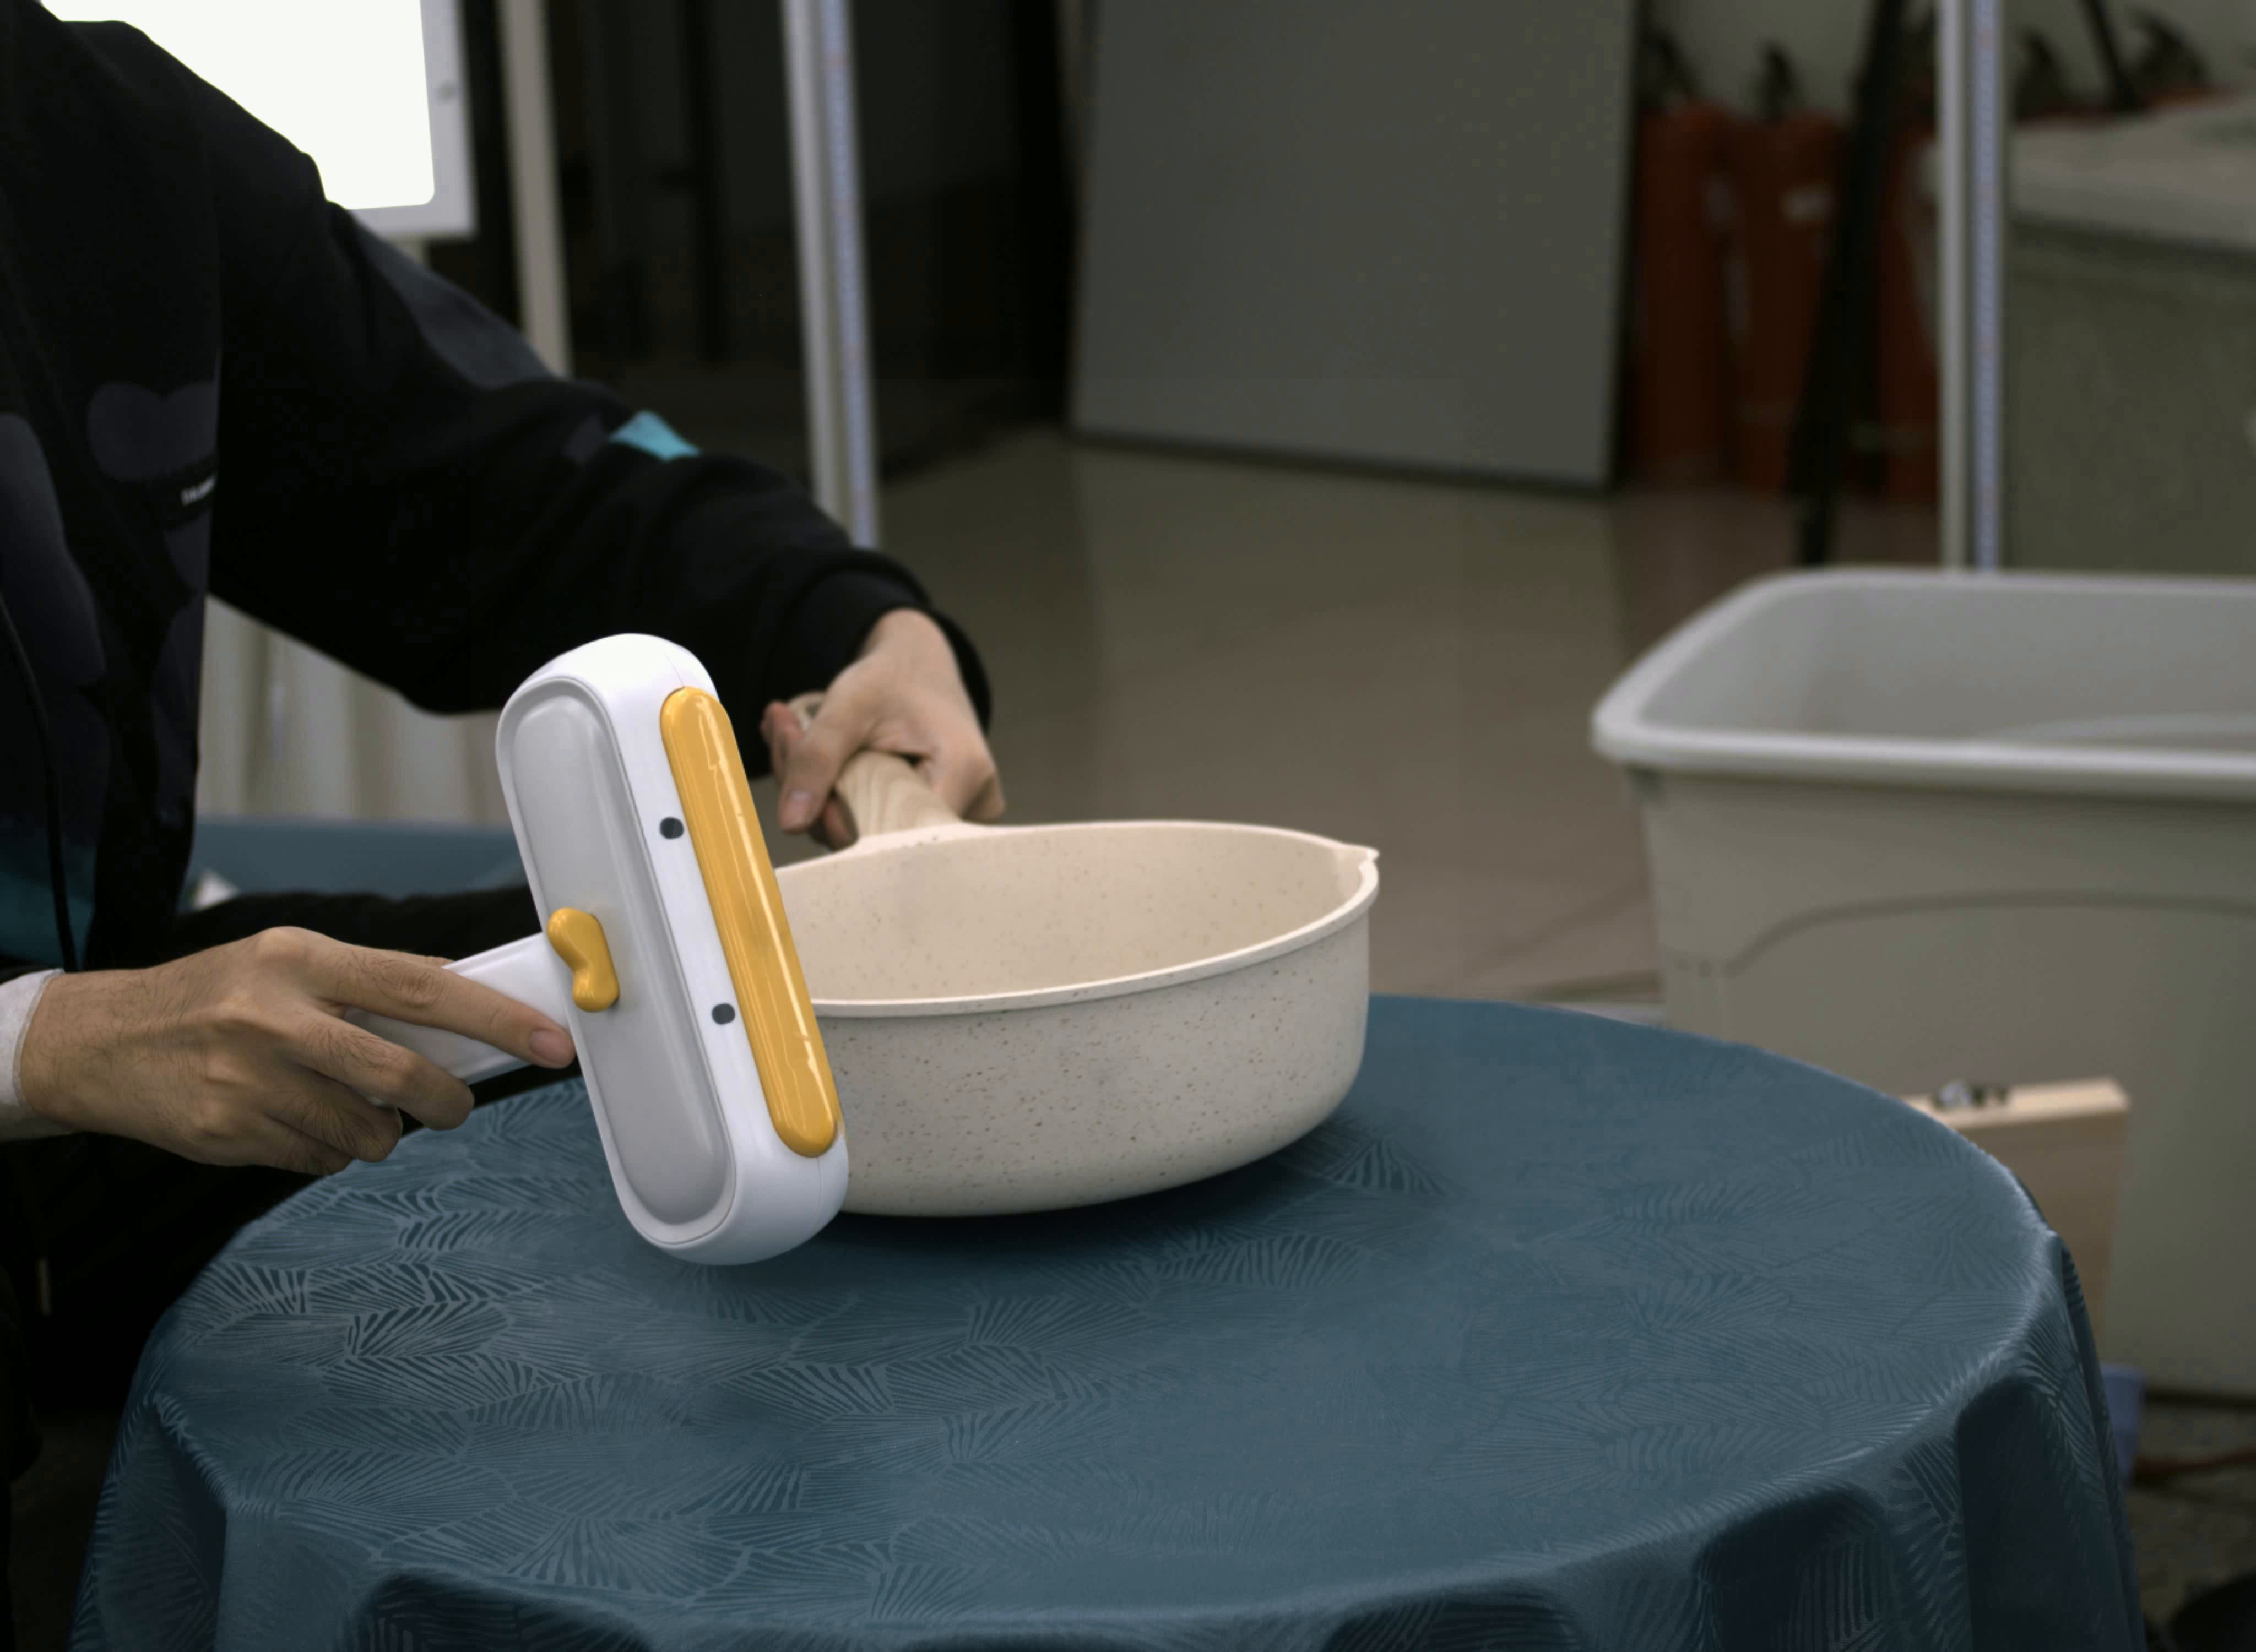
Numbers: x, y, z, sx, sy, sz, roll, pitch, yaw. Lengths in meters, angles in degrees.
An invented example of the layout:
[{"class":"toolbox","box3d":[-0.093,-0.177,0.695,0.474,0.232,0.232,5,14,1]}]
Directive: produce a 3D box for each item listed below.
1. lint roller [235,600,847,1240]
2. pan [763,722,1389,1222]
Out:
[{"class":"lint roller","box3d":[-0.186,0.051,1.635,0.193,0.195,0.073,-26,-7,33]},{"class":"pan","box3d":[-0.057,0.044,1.893,0.258,0.103,0.438,-12,12,-13]}]
